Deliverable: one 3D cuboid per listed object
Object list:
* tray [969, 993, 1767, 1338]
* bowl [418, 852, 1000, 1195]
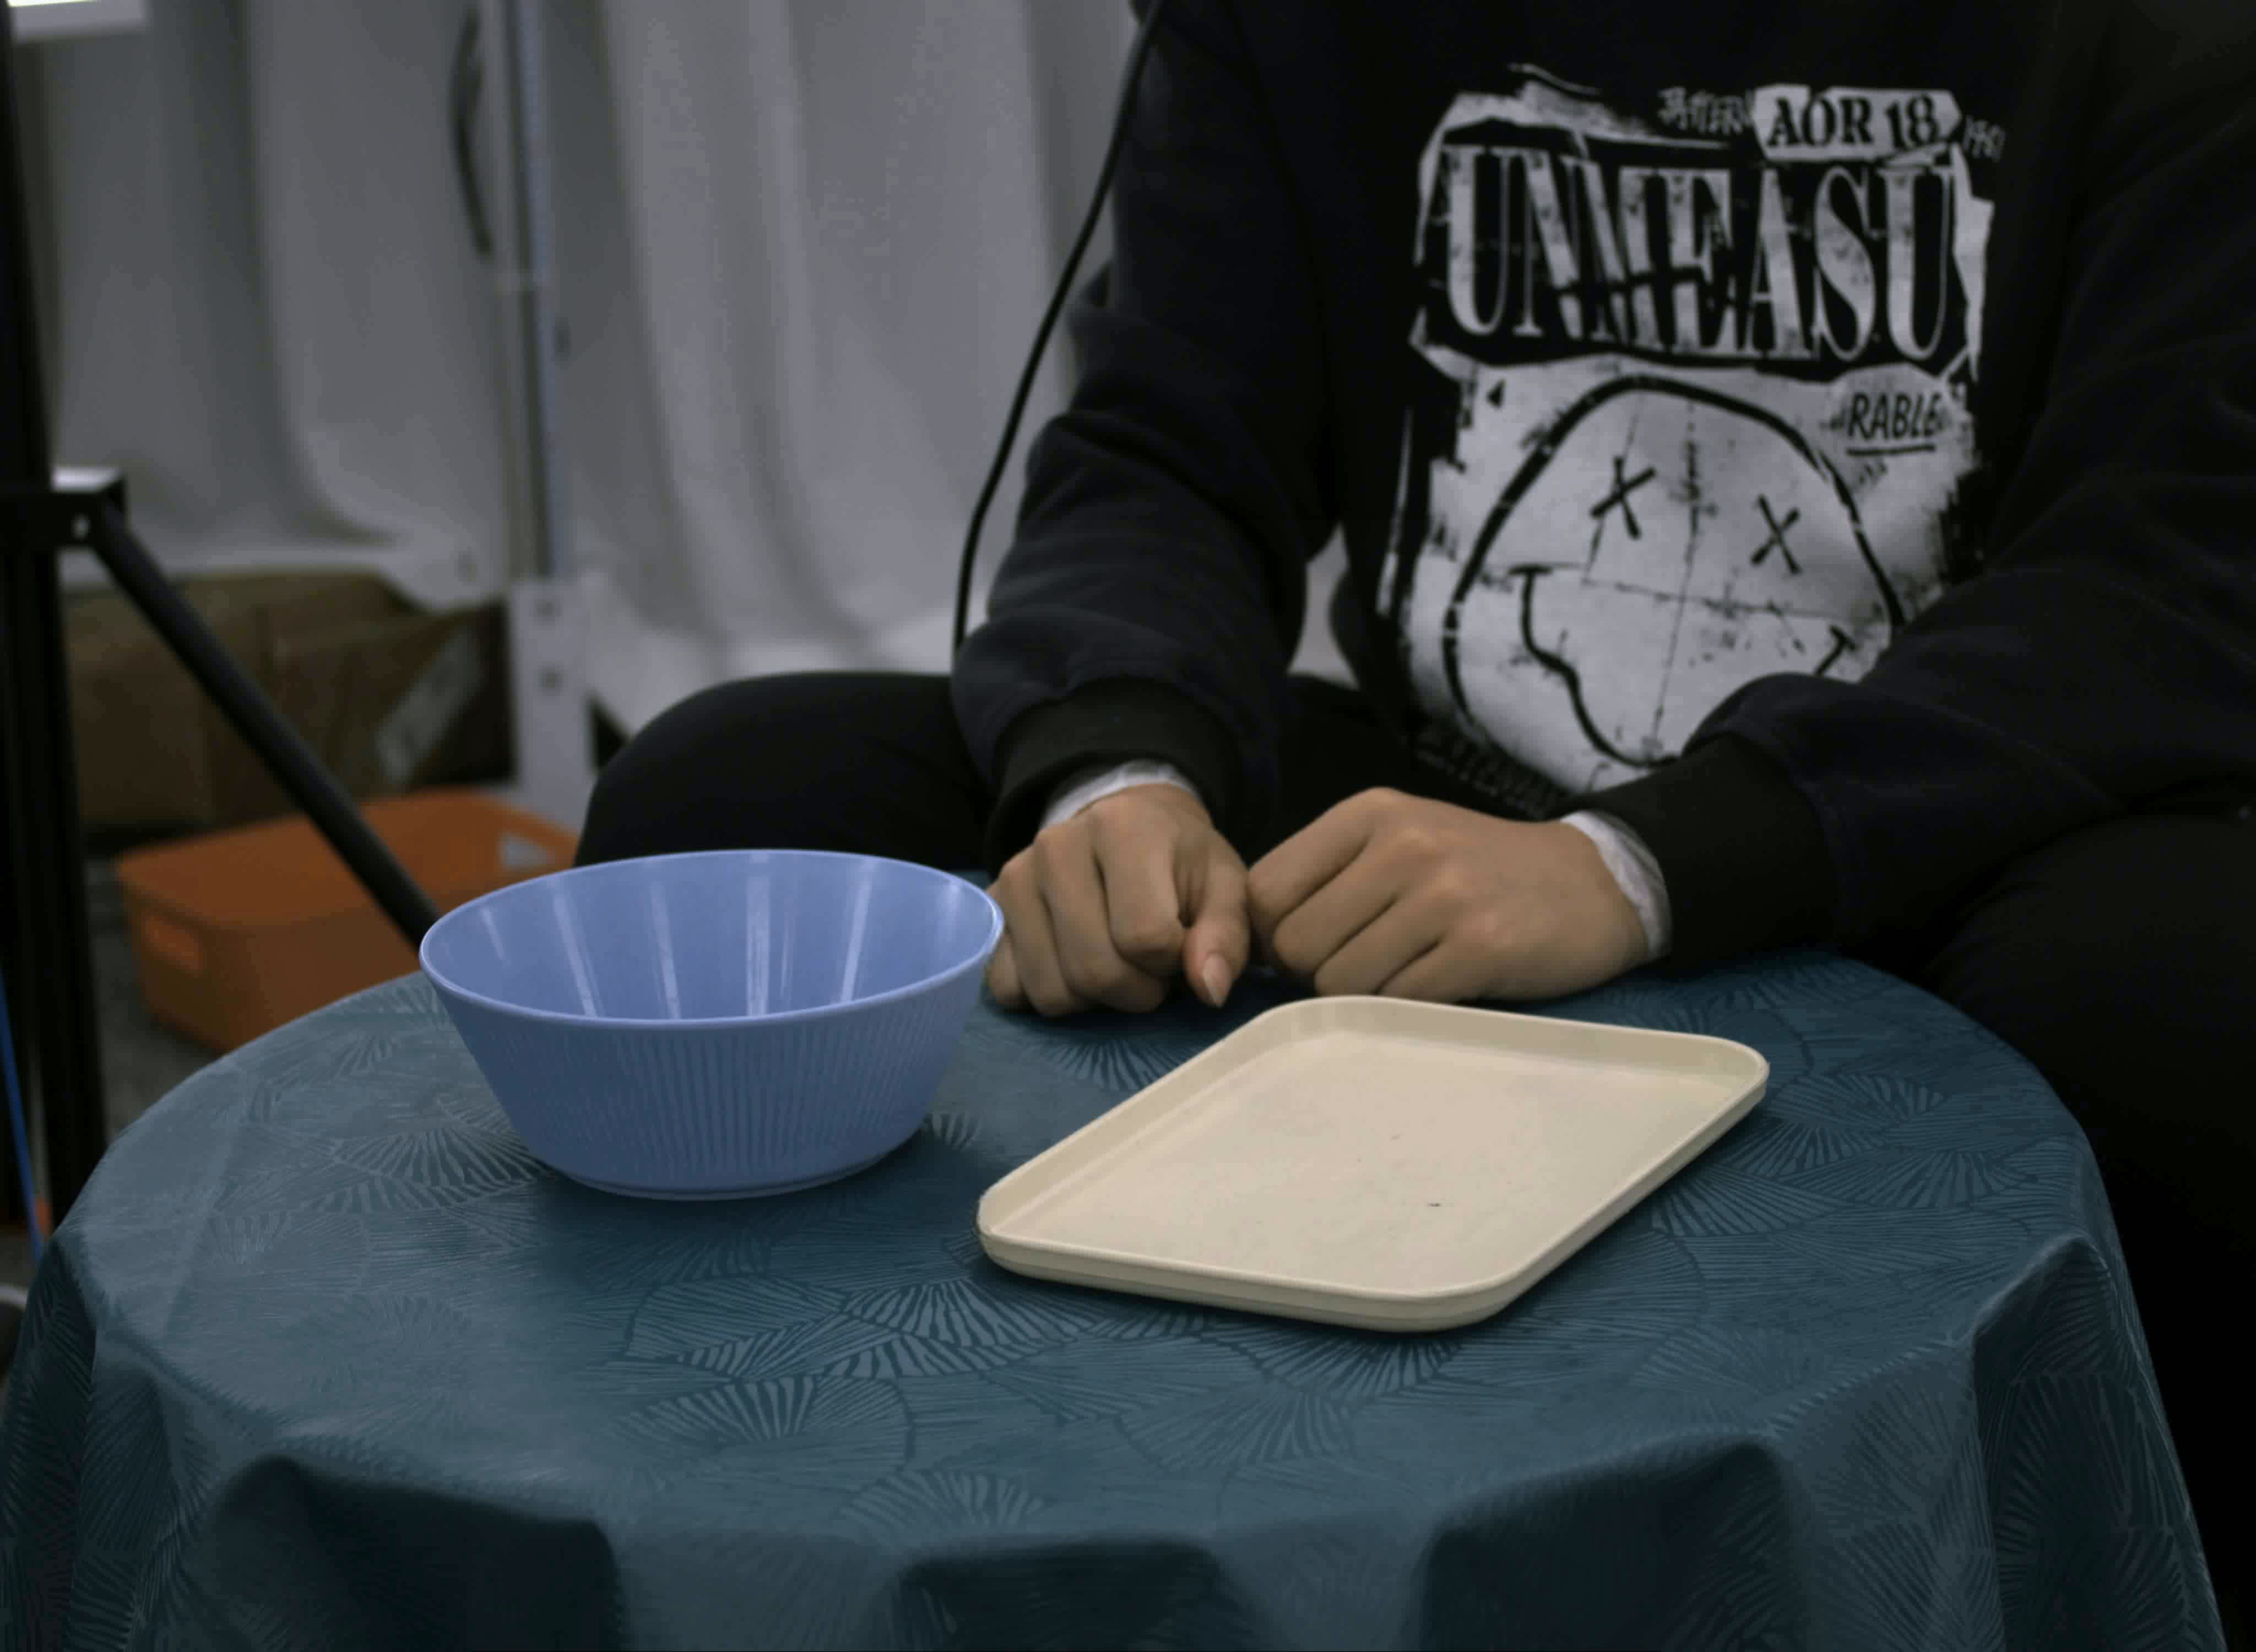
[{"bbox_3d":[0.074,0.098,1.550,0.174,0.017,0.235,7,18,29],"label":"tray"},{"bbox_3d":[-0.125,0.062,1.612,0.175,0.070,0.177,-2,16,-1],"label":"bowl"}]
